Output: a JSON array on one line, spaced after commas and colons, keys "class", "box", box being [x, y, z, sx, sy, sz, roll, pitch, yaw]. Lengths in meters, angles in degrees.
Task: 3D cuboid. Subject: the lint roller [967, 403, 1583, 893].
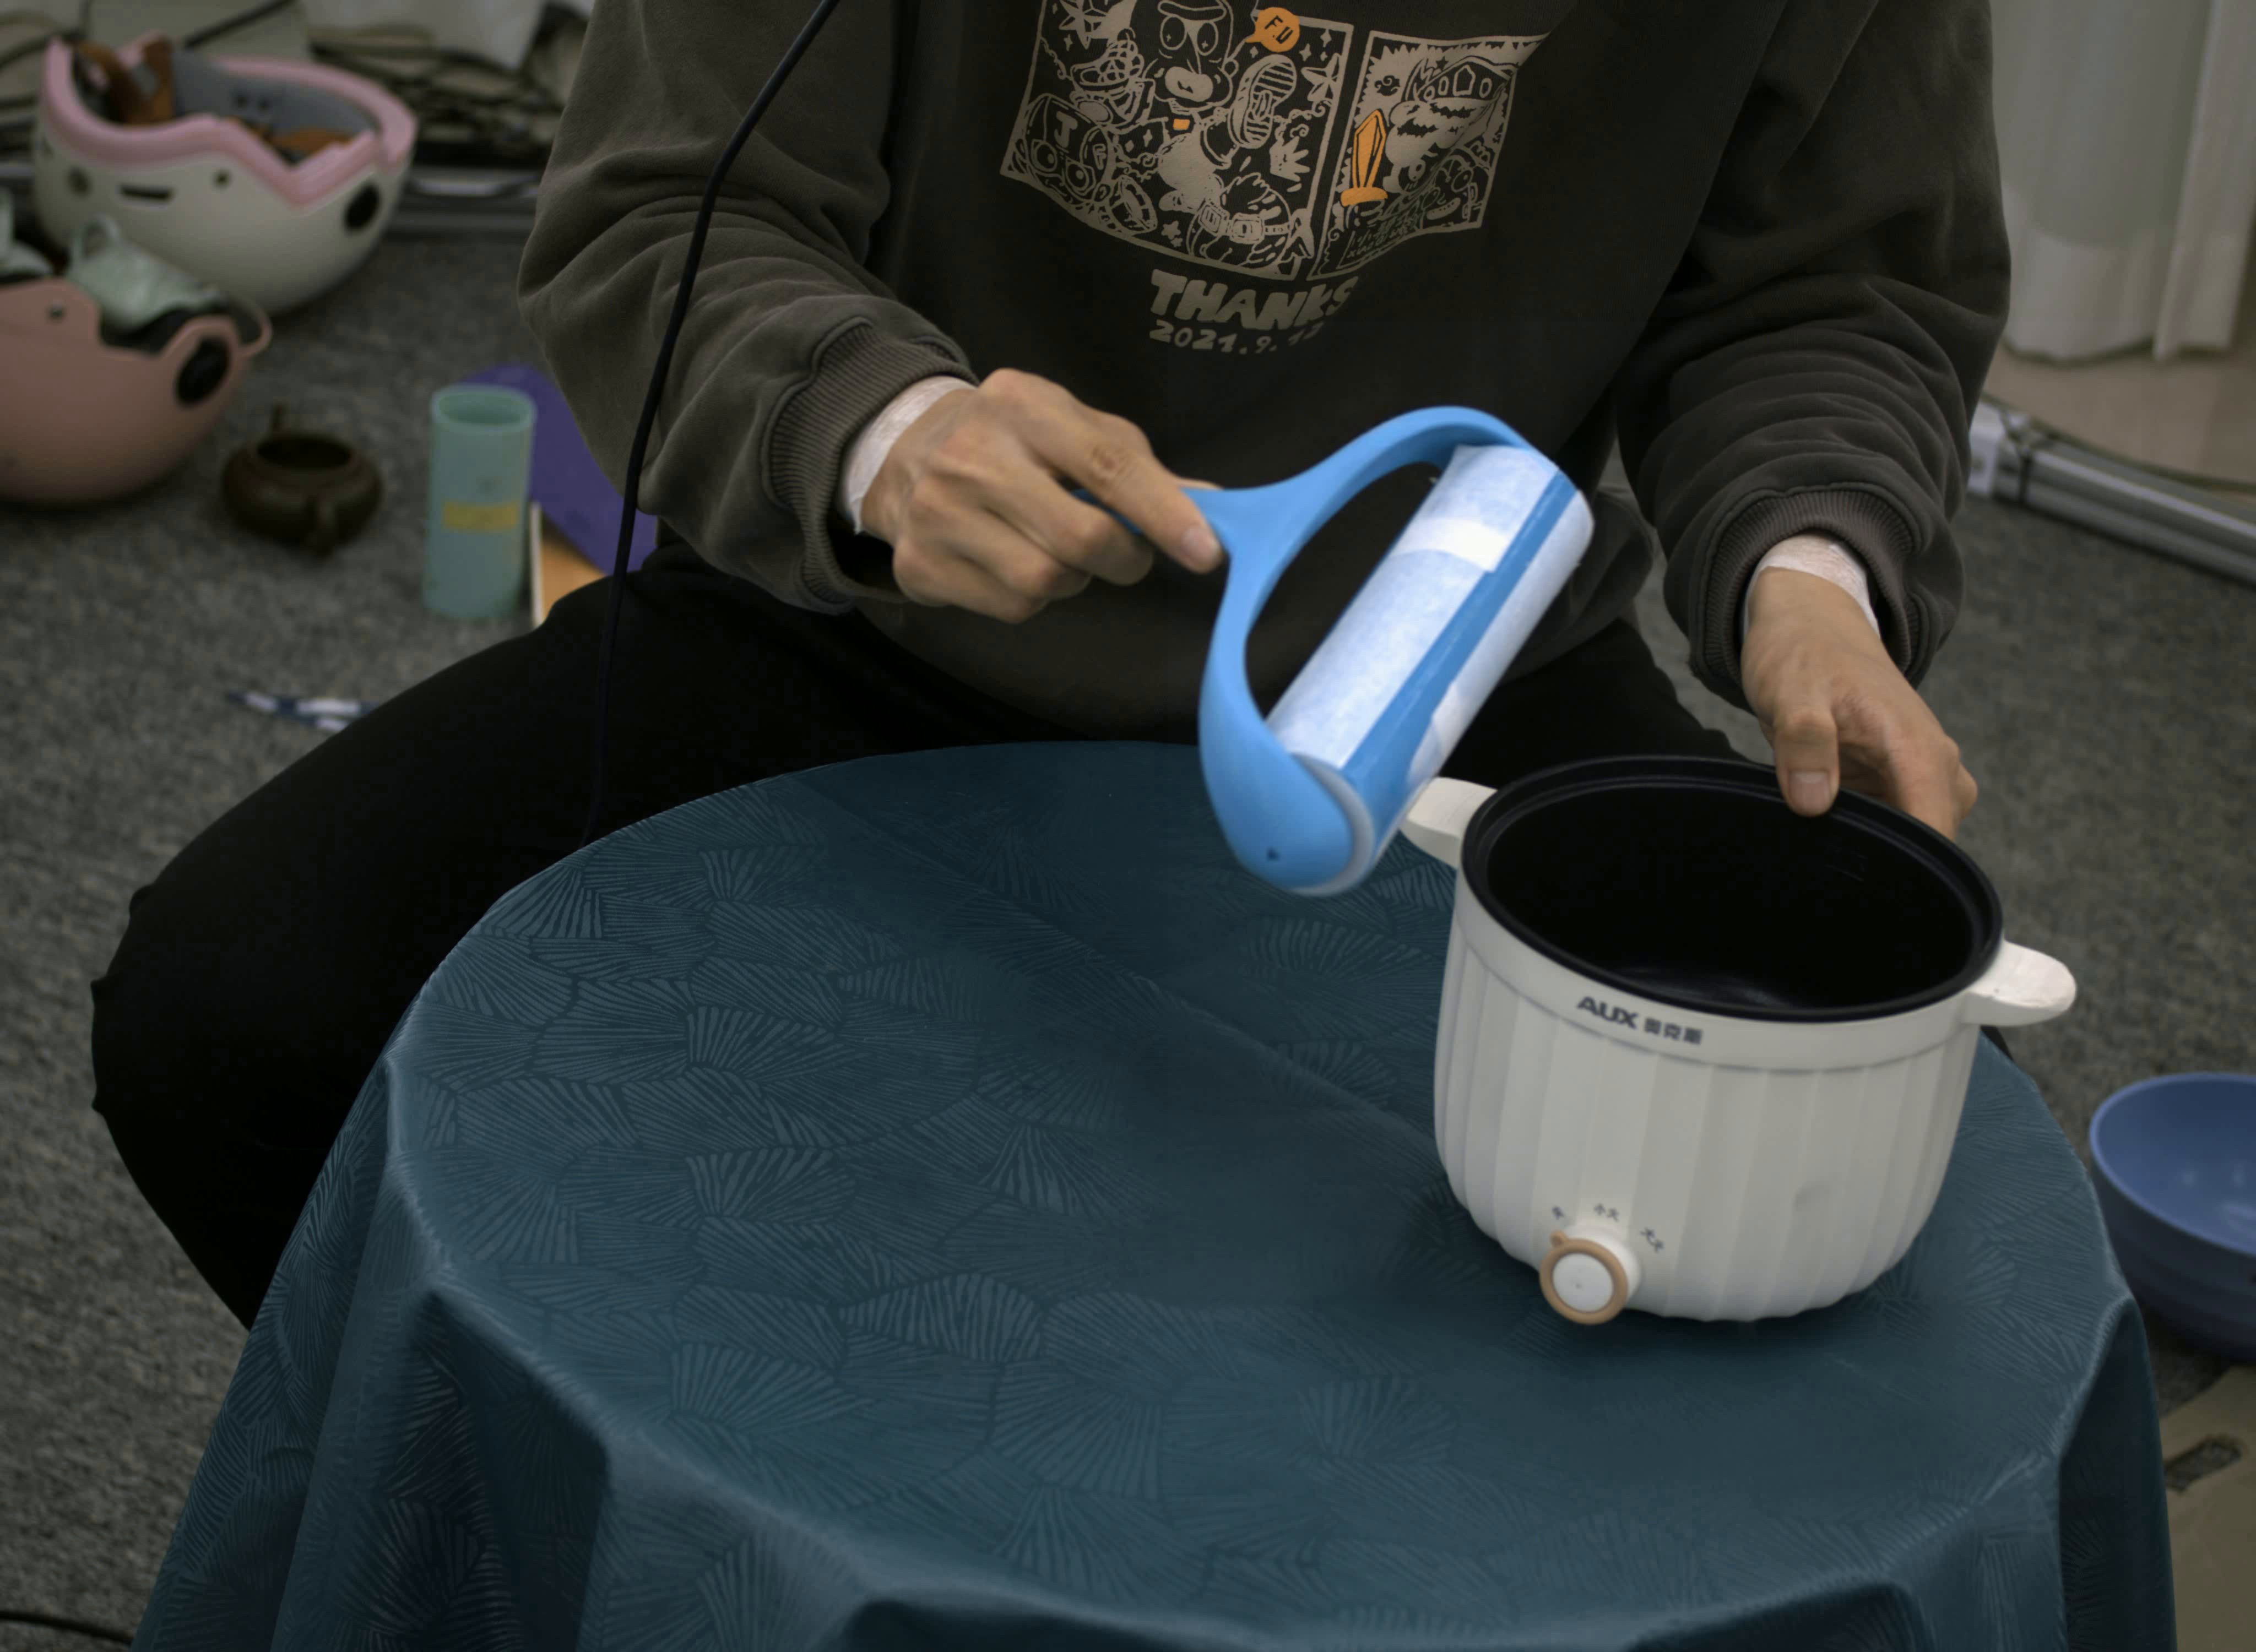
[{"class": "lint roller", "box": [0.034, -0.075, 1.699, 0.180, 0.067, 0.229, 21, 41, 10]}]

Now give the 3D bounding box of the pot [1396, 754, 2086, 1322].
[{"class": "pot", "box": [0.192, 0.078, 1.784, 0.241, 0.142, 0.190, 15, 24, 20]}]
